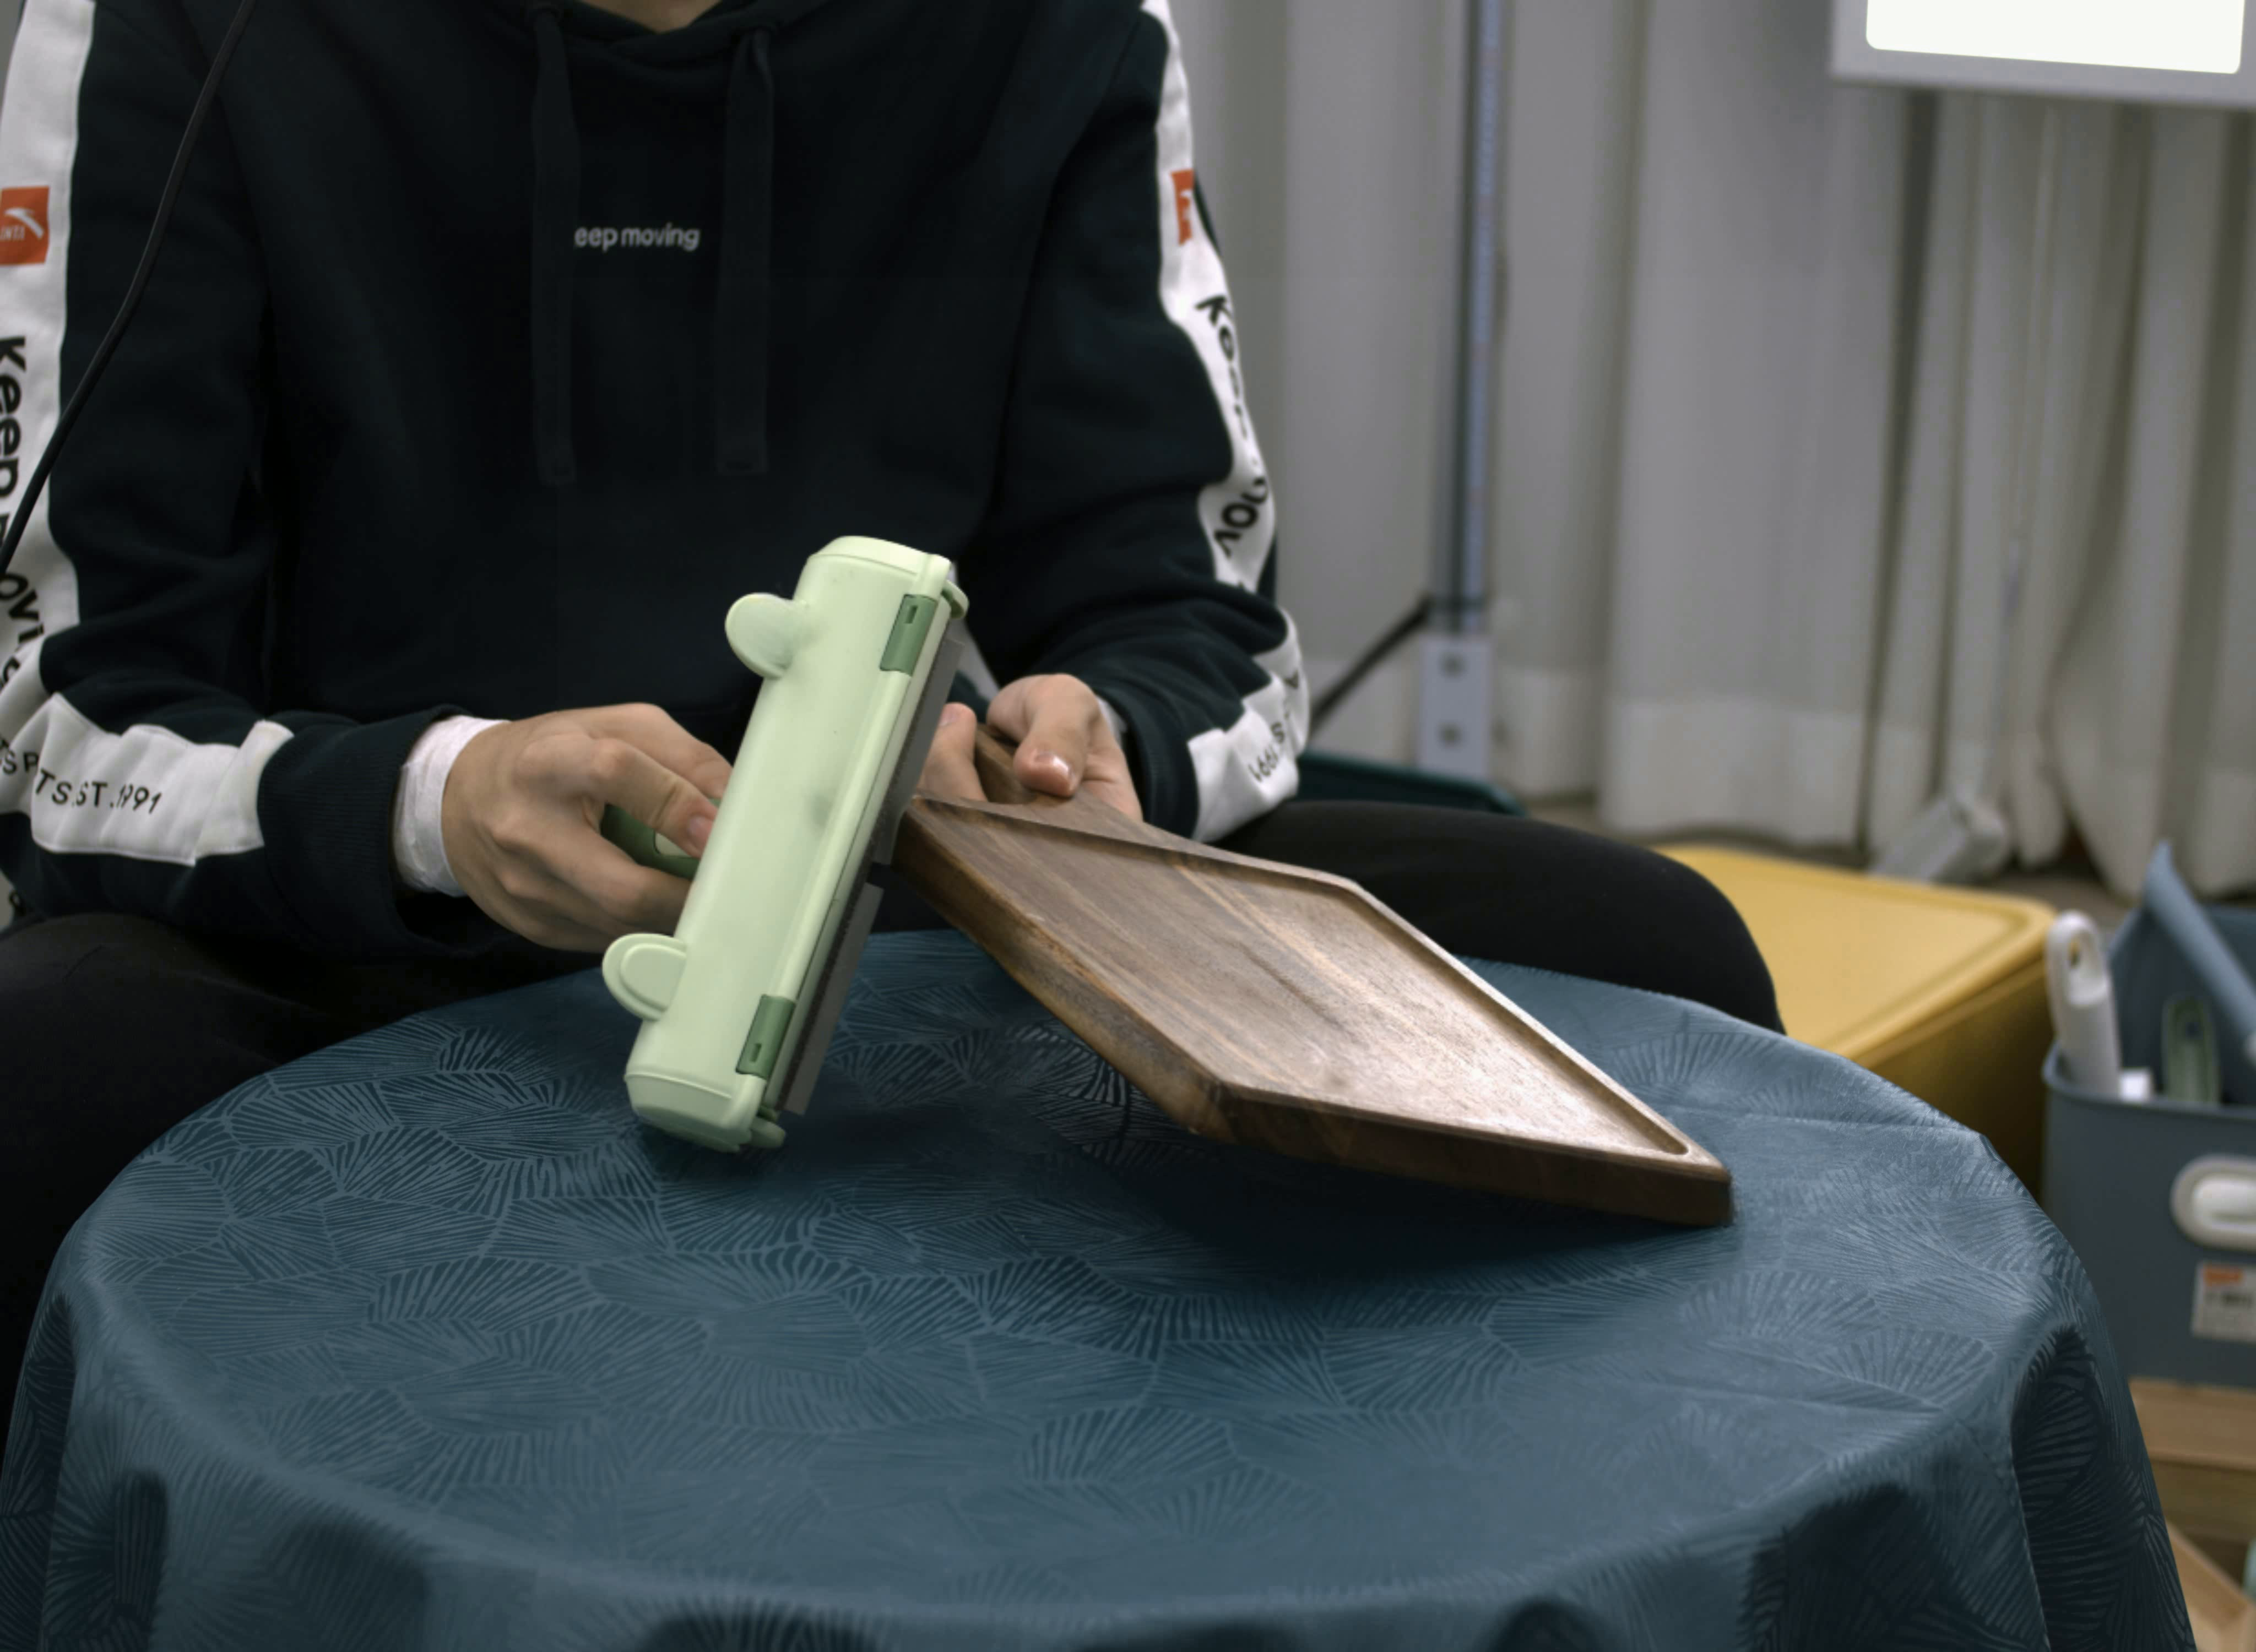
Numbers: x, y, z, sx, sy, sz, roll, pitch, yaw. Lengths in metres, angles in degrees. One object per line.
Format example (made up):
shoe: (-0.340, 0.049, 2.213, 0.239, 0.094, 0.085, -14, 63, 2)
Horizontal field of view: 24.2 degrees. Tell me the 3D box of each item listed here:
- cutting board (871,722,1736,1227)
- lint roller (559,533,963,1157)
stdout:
cutting board: (0.025, 0.036, 1.677, 0.203, 0.023, 0.347, 12, 15, -33)
lint roller: (-0.145, 0.001, 1.682, 0.181, 0.198, 0.083, 4, -19, 46)
